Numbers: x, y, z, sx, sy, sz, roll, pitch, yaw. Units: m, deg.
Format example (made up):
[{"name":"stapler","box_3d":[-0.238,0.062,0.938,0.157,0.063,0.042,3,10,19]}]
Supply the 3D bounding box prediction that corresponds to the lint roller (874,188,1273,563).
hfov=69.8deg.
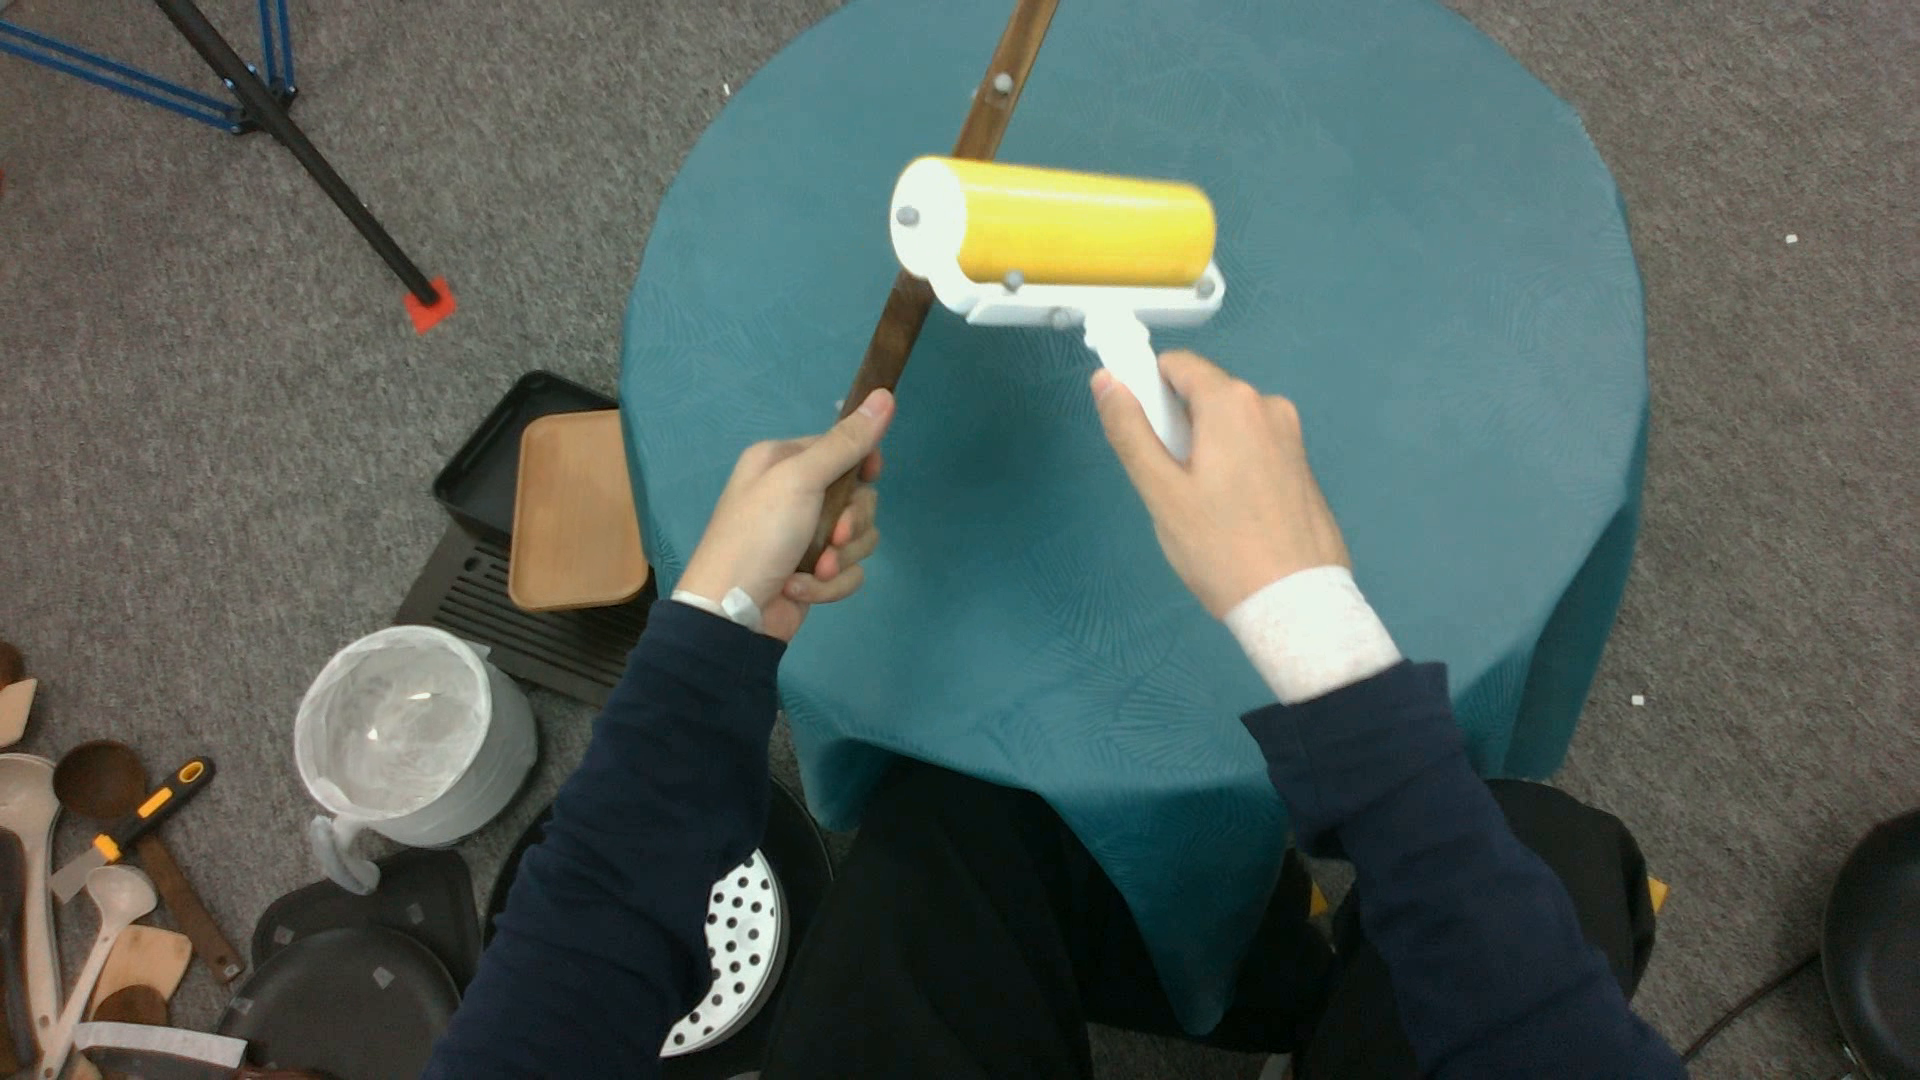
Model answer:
[{"name":"lint roller","box_3d":[0.076,-0.074,0.584,0.175,0.051,0.192,-8,50,-48]}]

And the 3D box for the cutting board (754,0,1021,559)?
[{"name":"cutting board","box_3d":[-0.036,-0.143,0.702,0.023,0.200,0.353,22,62,-8]}]
